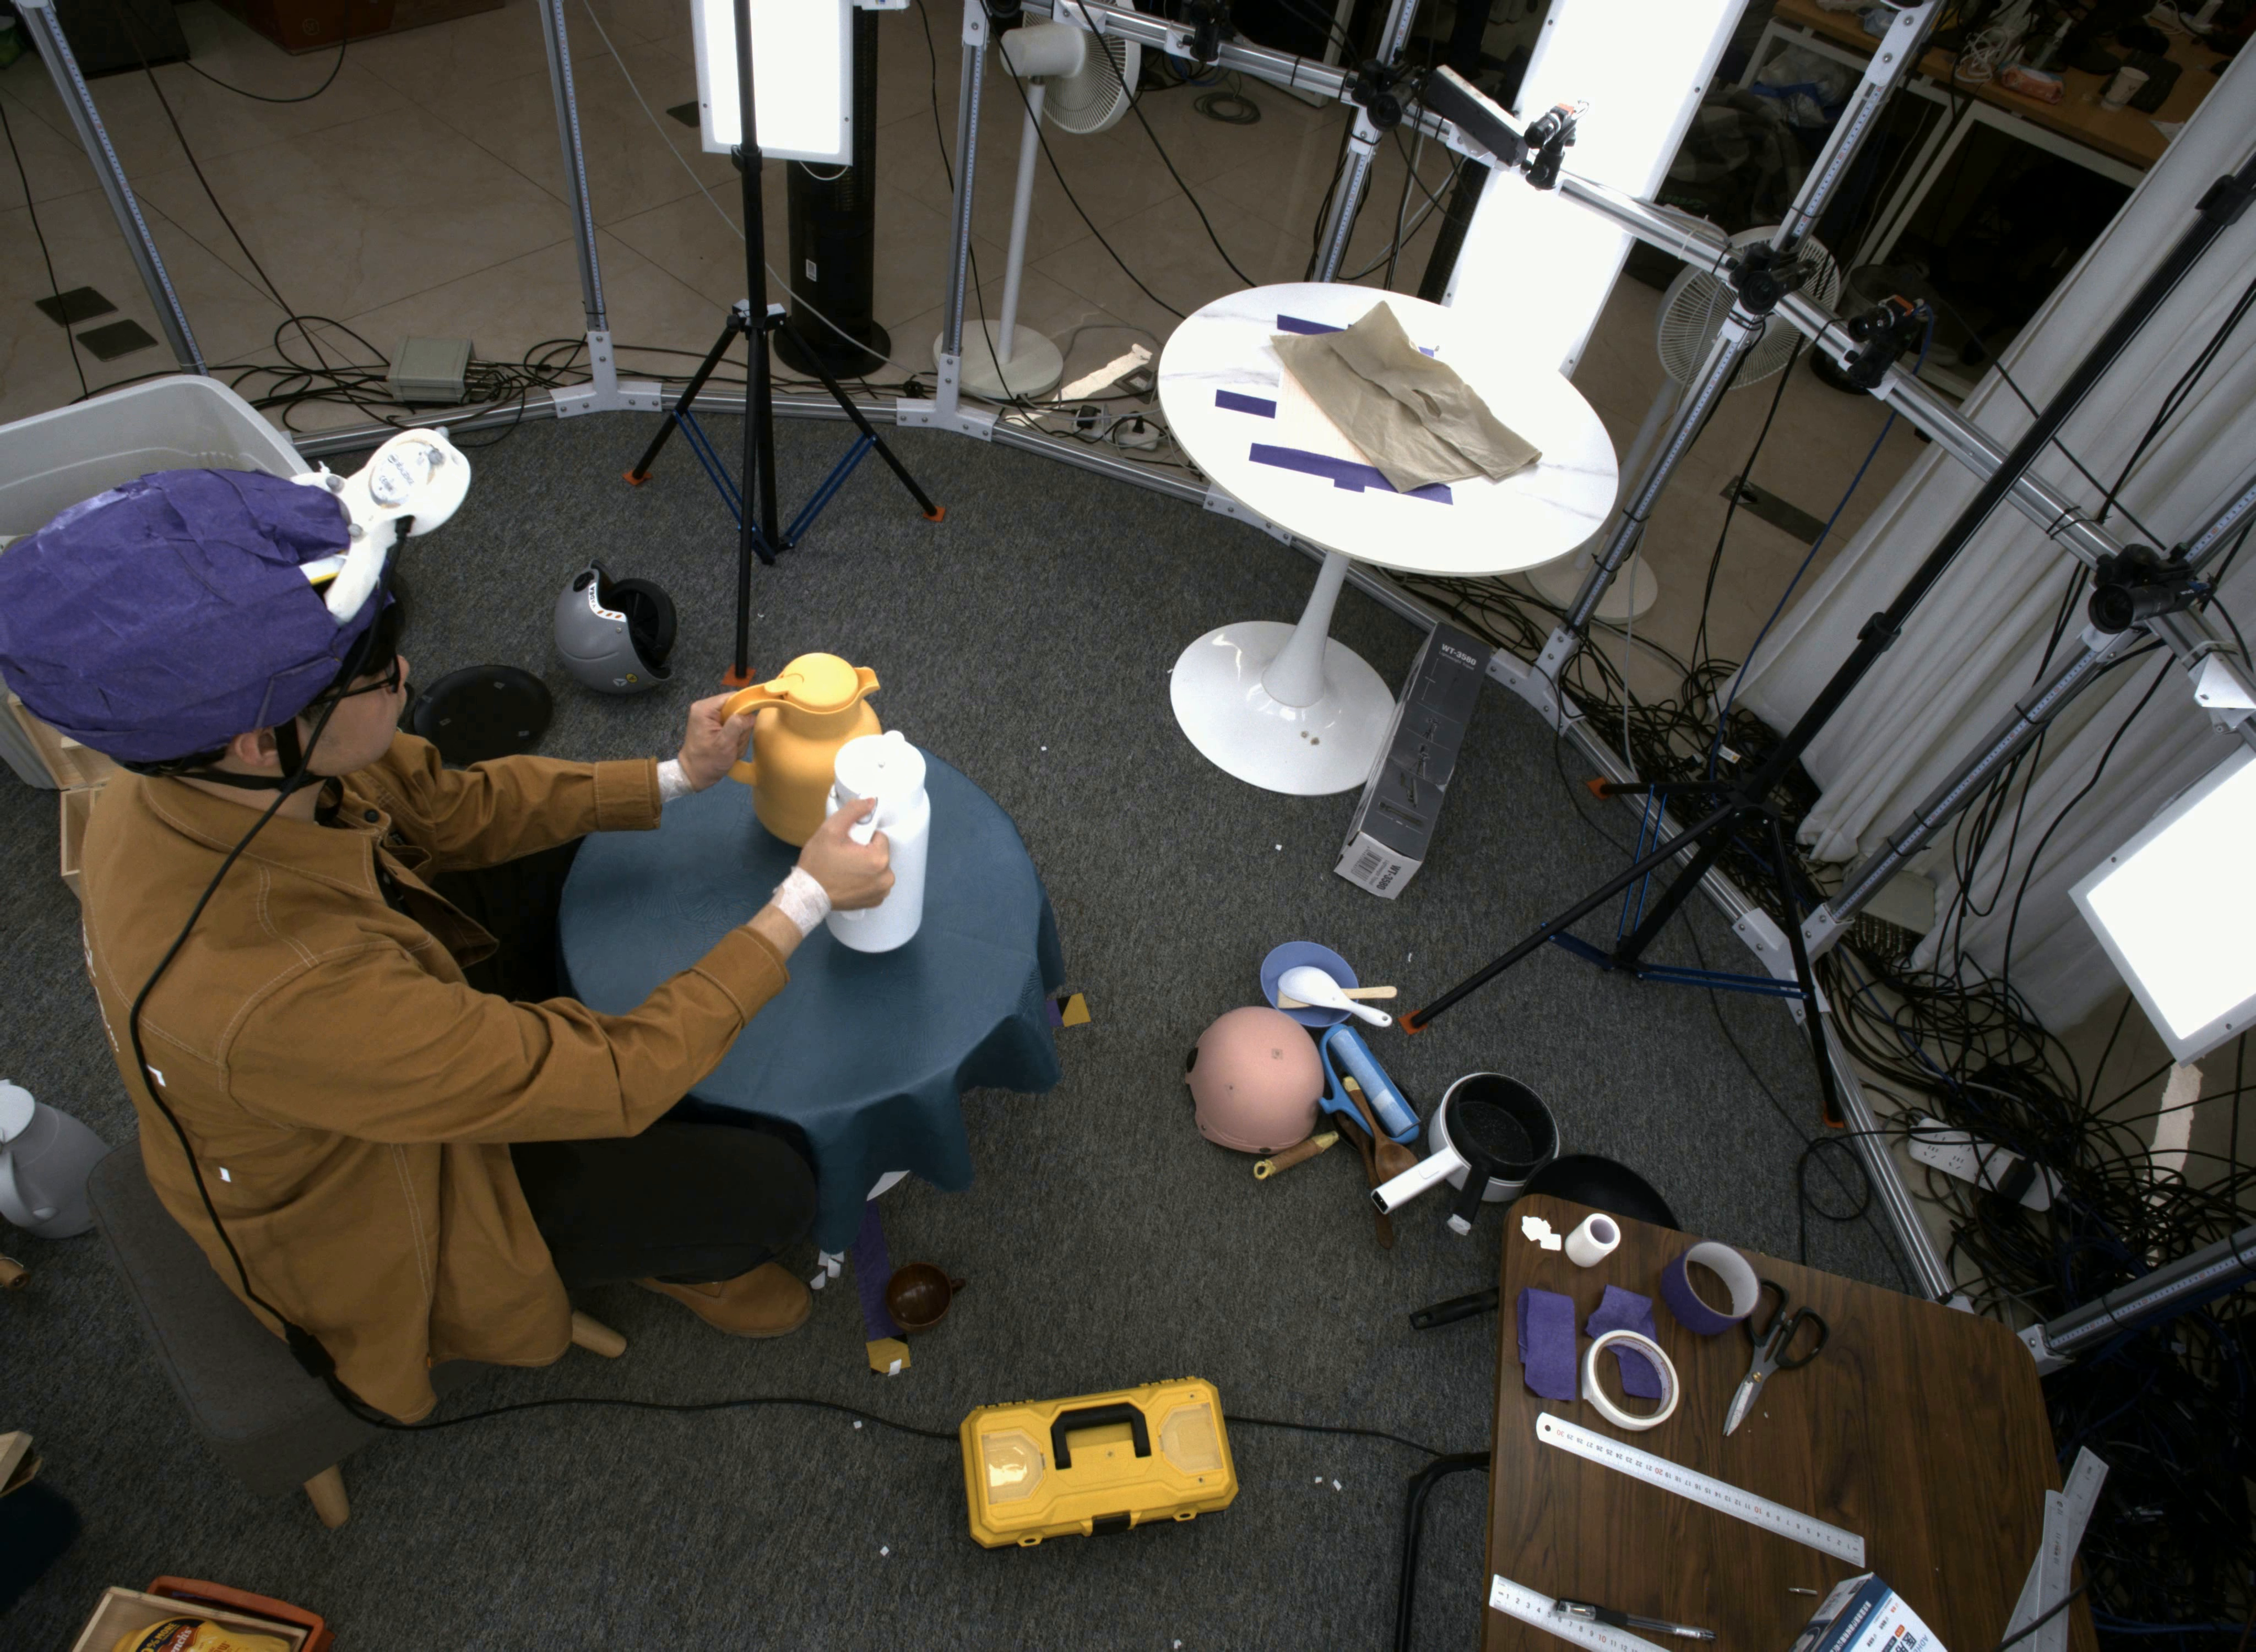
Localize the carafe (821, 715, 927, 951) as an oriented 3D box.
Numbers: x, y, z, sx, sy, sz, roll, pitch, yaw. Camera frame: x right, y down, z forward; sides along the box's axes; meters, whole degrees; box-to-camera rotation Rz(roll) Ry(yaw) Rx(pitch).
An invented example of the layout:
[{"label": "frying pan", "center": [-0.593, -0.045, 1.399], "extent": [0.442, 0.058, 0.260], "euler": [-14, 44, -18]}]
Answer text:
[{"label": "carafe", "center": [-0.294, 0.028, 1.484], "extent": [0.123, 0.275, 0.170], "euler": [12, 45, -4]}]

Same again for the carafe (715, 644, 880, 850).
[{"label": "carafe", "center": [-0.409, -0.102, 1.612], "extent": [0.204, 0.266, 0.159], "euler": [-9, 52, -23]}]
